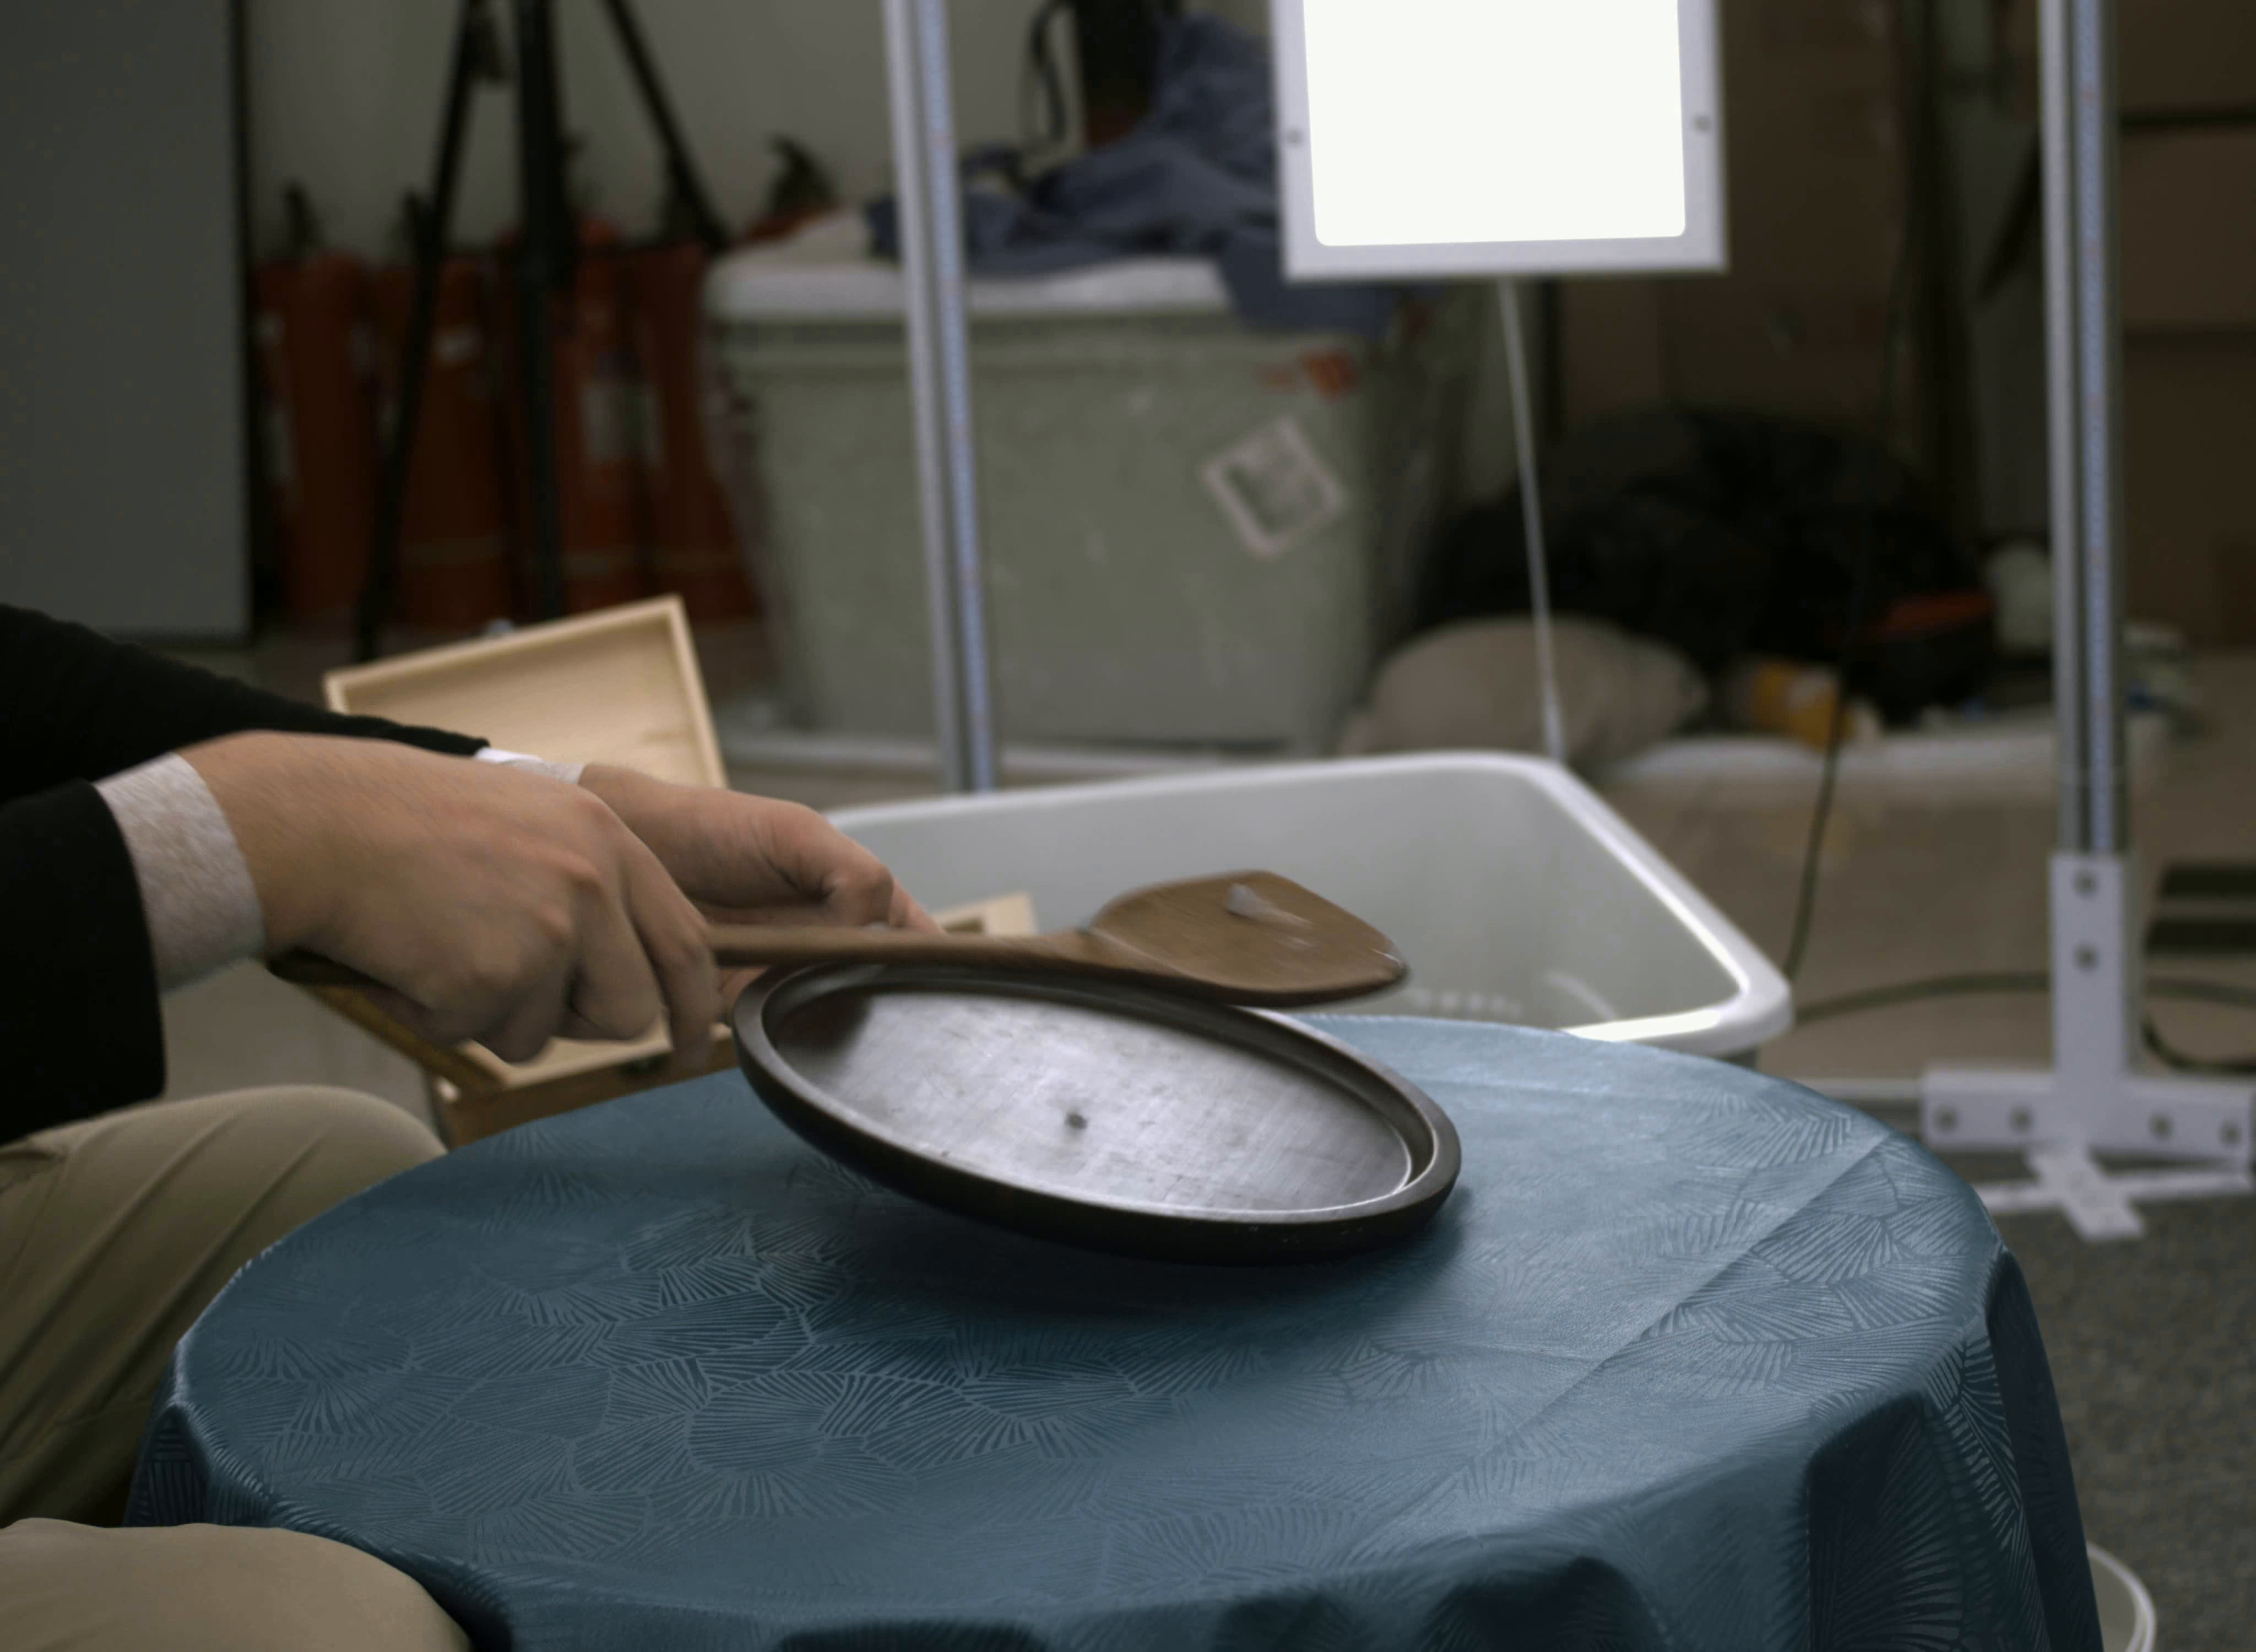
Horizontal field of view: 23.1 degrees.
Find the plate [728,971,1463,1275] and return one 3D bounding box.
[{"bbox_3d":[-0.011,0.094,1.861,0.253,0.029,0.254,9,18,-5],"label":"plate"}]

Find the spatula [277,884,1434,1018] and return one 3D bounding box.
[{"bbox_3d":[-0.079,0.040,1.681,0.377,0.016,0.097,0,21,-30],"label":"spatula"}]
